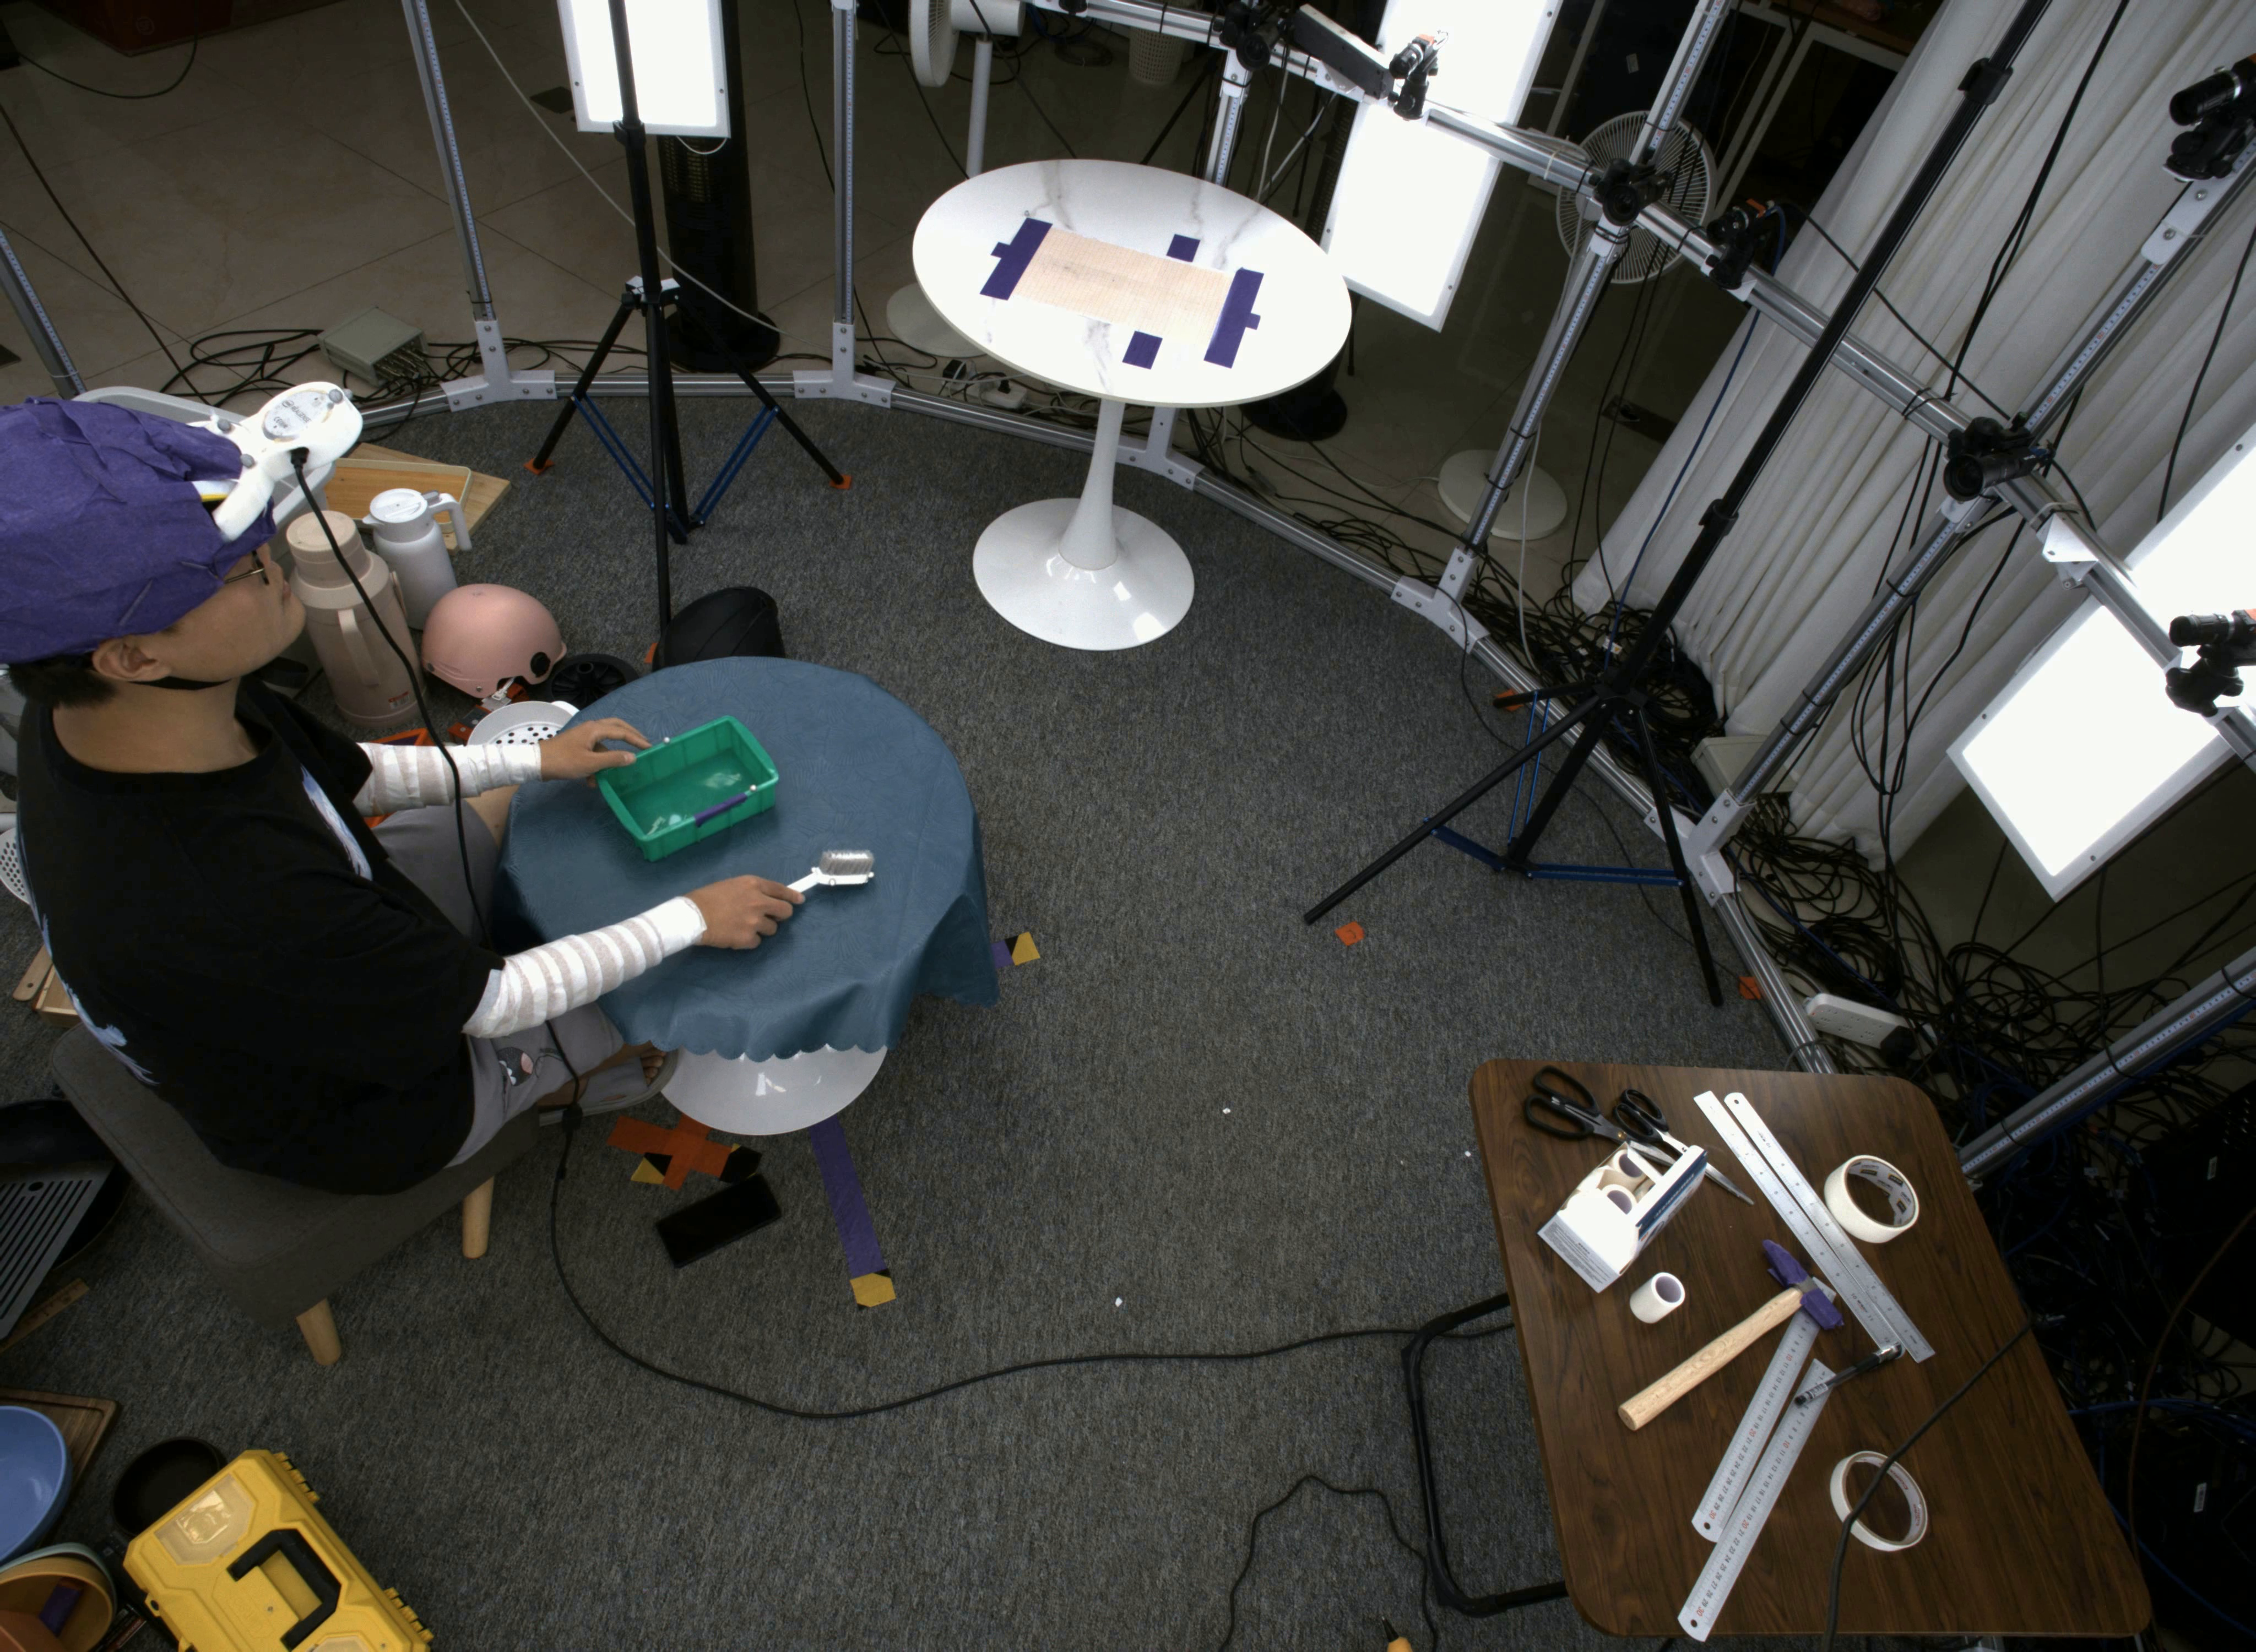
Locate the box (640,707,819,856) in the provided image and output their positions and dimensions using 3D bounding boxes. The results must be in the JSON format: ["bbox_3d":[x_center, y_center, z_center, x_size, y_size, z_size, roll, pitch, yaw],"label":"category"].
[{"bbox_3d":[-0.526,-0.059,1.713,0.211,0.066,0.135,-29,67,-29],"label":"box"}]

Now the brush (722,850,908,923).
[{"bbox_3d":[-0.400,0.071,1.656,0.244,0.052,0.033,-14,33,-21],"label":"brush"}]
